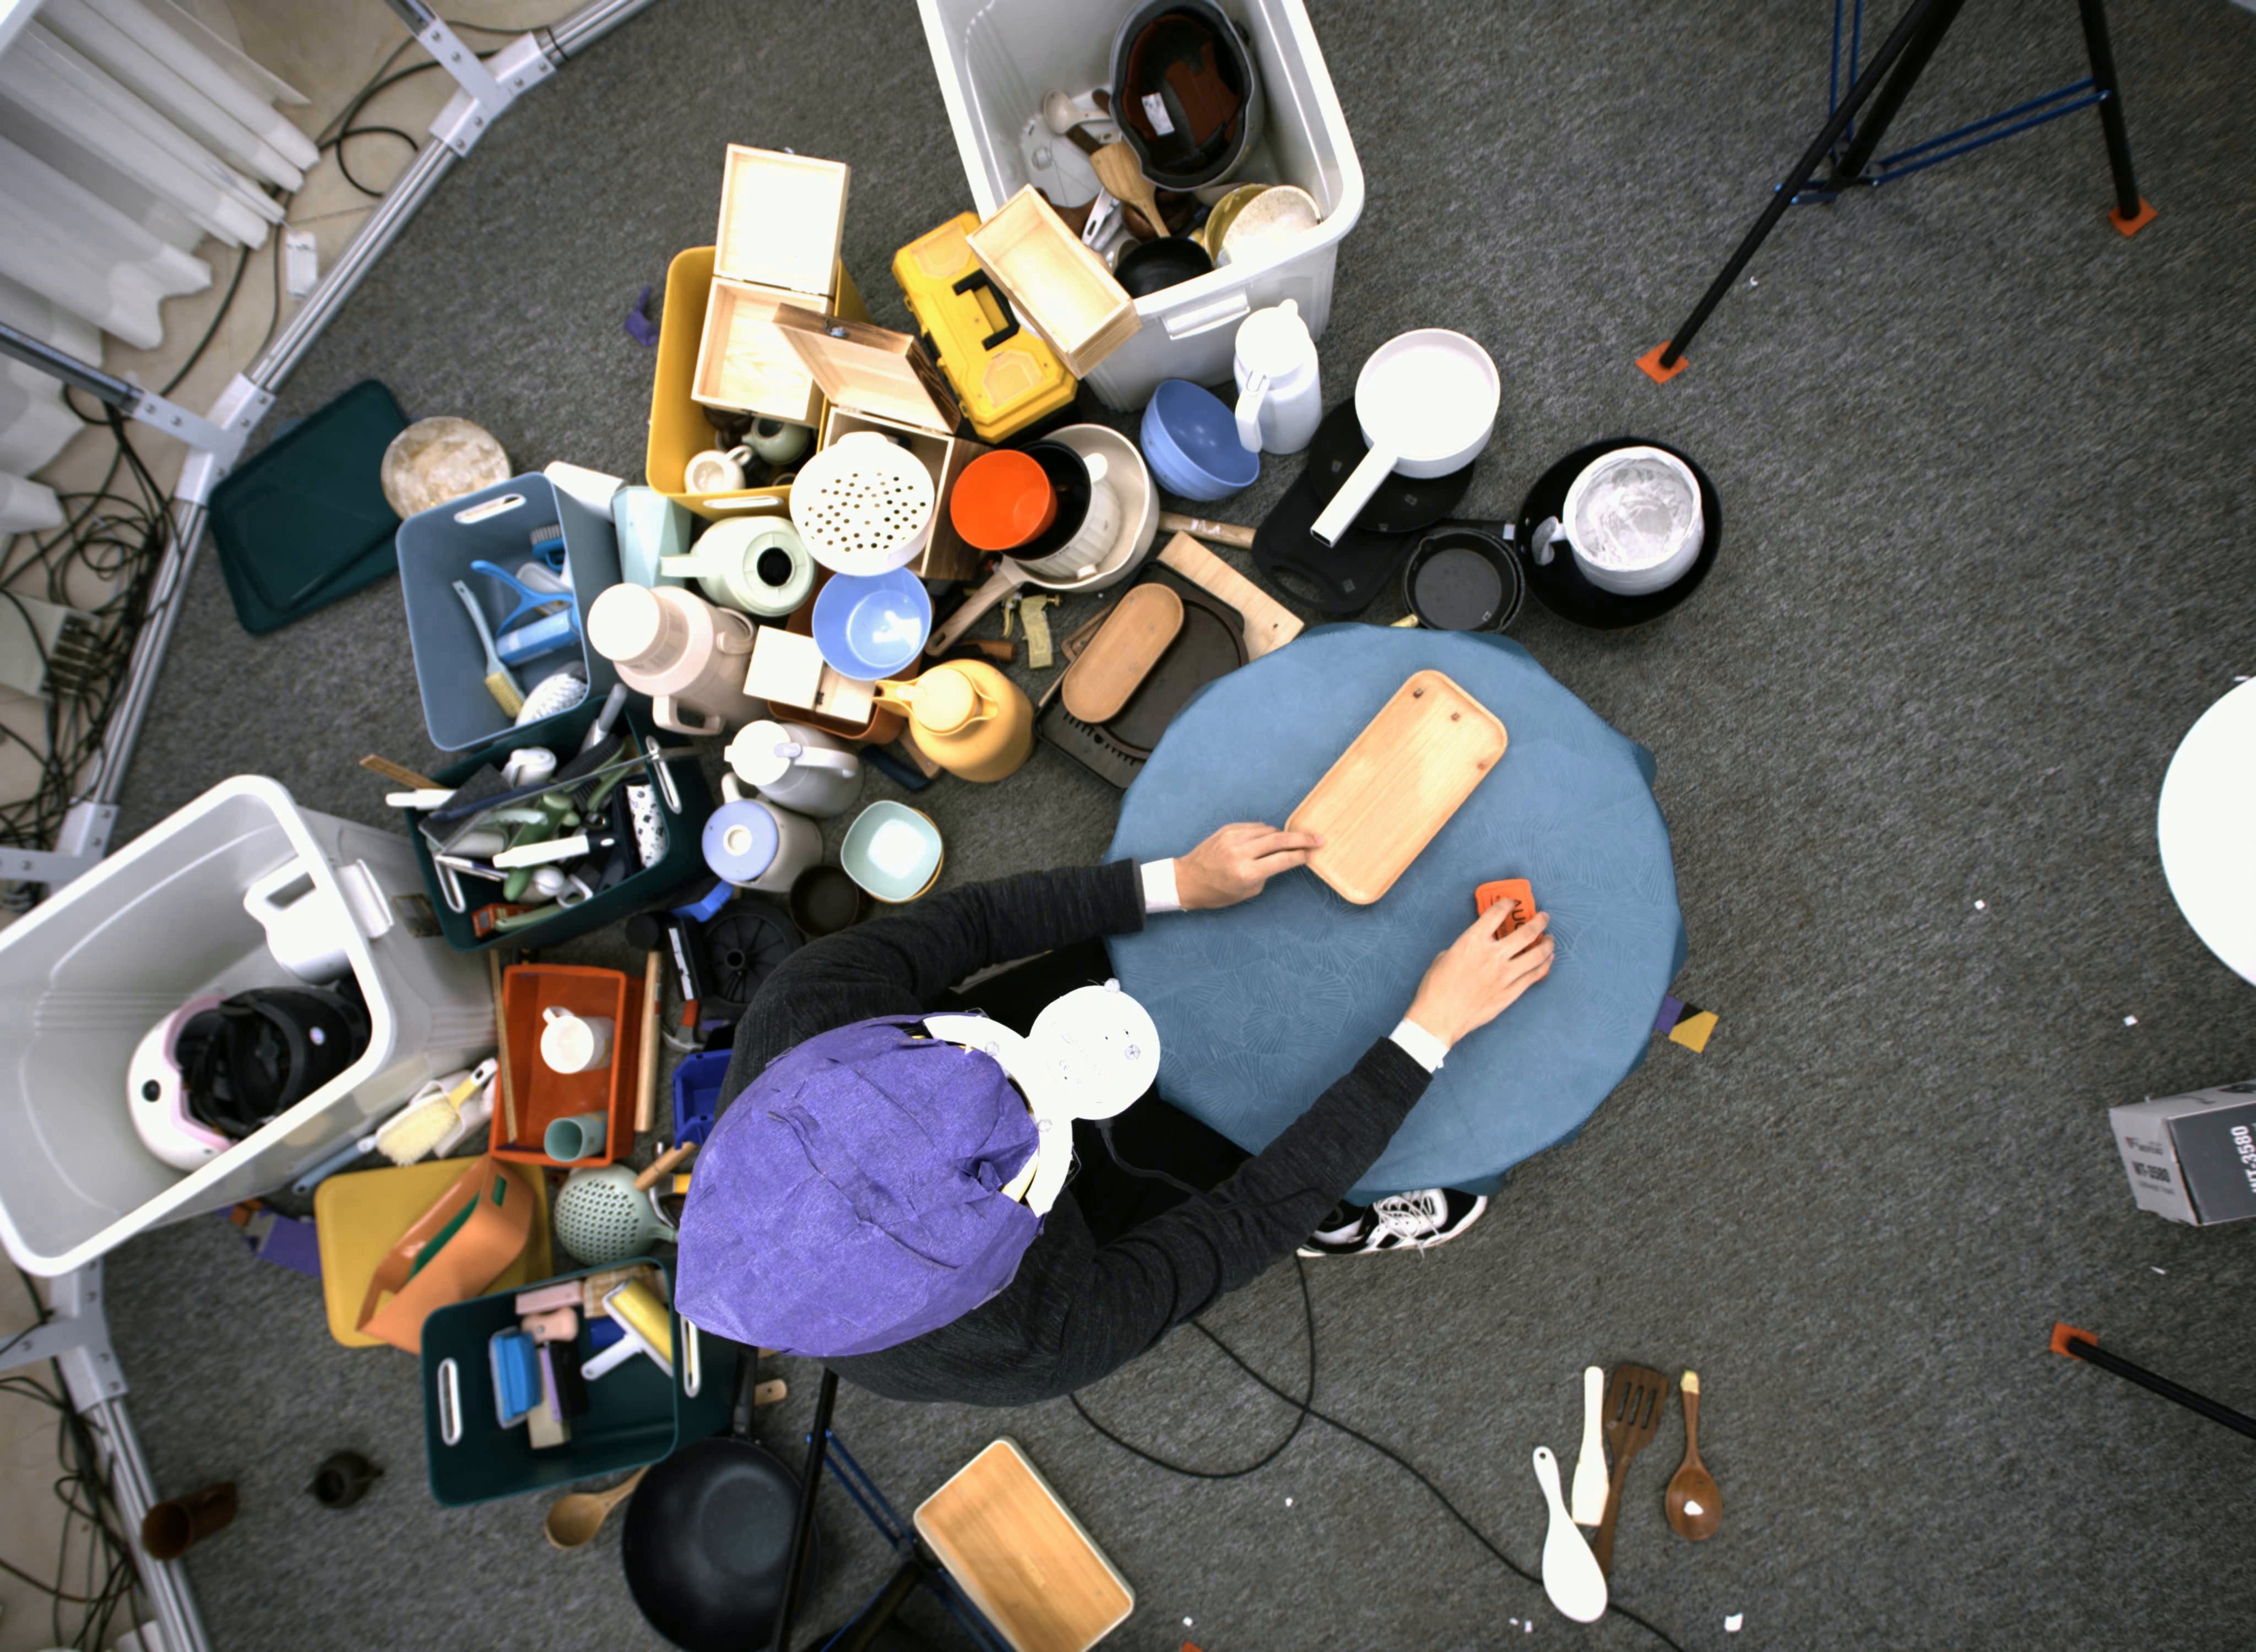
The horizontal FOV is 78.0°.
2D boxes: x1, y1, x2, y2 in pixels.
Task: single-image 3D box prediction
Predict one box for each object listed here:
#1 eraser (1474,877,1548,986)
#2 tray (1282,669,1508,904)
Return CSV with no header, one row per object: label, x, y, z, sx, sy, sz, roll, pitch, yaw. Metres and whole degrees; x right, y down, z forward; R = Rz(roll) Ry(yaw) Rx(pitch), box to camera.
eraser,0.396,0.107,1.423,0.059,0.023,0.107,-11,85,11
tray,0.279,-0.043,1.440,0.130,0.023,0.250,42,89,7
